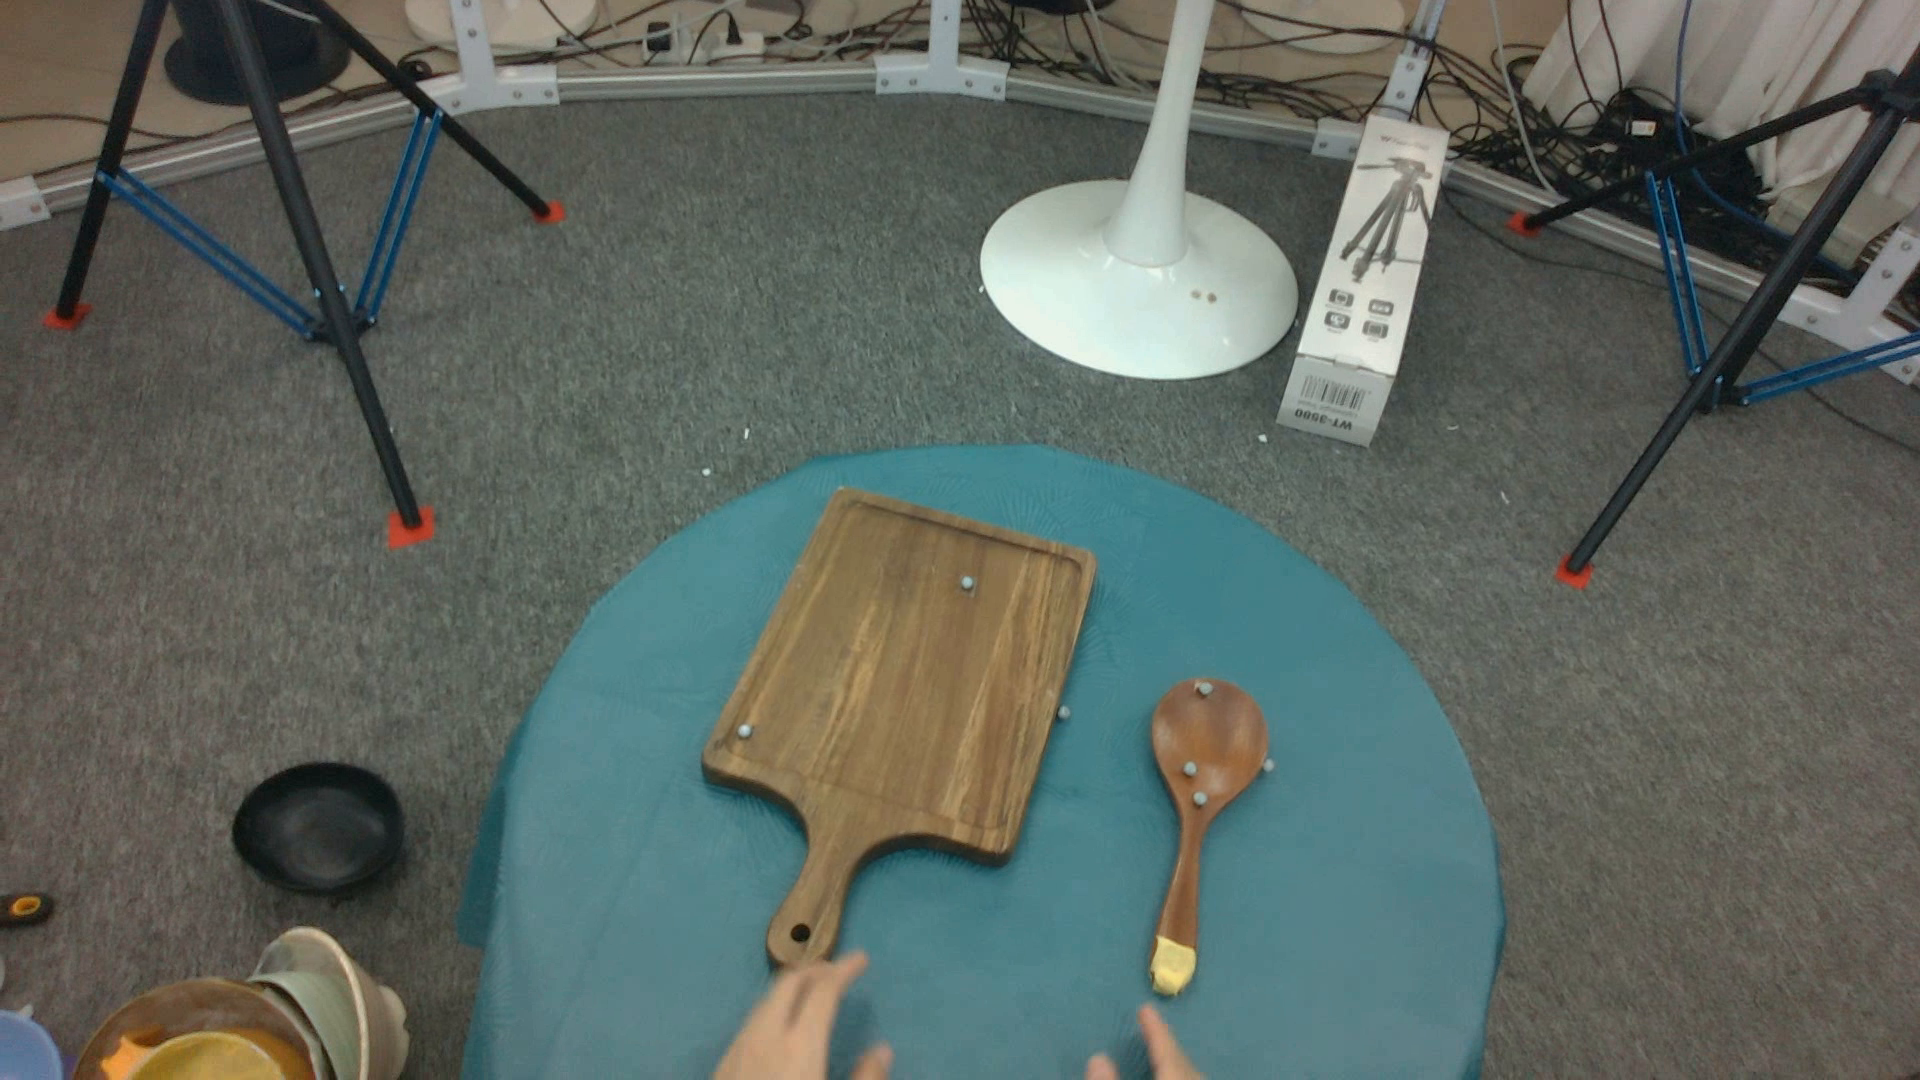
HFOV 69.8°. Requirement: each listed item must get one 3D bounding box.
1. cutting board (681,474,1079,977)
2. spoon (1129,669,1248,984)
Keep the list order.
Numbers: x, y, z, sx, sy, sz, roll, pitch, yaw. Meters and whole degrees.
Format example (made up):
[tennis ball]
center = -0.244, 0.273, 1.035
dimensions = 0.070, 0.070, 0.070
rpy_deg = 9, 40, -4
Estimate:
[cutting board]
center = -0.055, 0.105, 0.859
dimensions = 0.201, 0.023, 0.354
rpy_deg = 16, 49, 6
[spoon]
center = 0.130, 0.166, 0.829
dimensions = 0.075, 0.017, 0.217
rpy_deg = 15, 48, 4
